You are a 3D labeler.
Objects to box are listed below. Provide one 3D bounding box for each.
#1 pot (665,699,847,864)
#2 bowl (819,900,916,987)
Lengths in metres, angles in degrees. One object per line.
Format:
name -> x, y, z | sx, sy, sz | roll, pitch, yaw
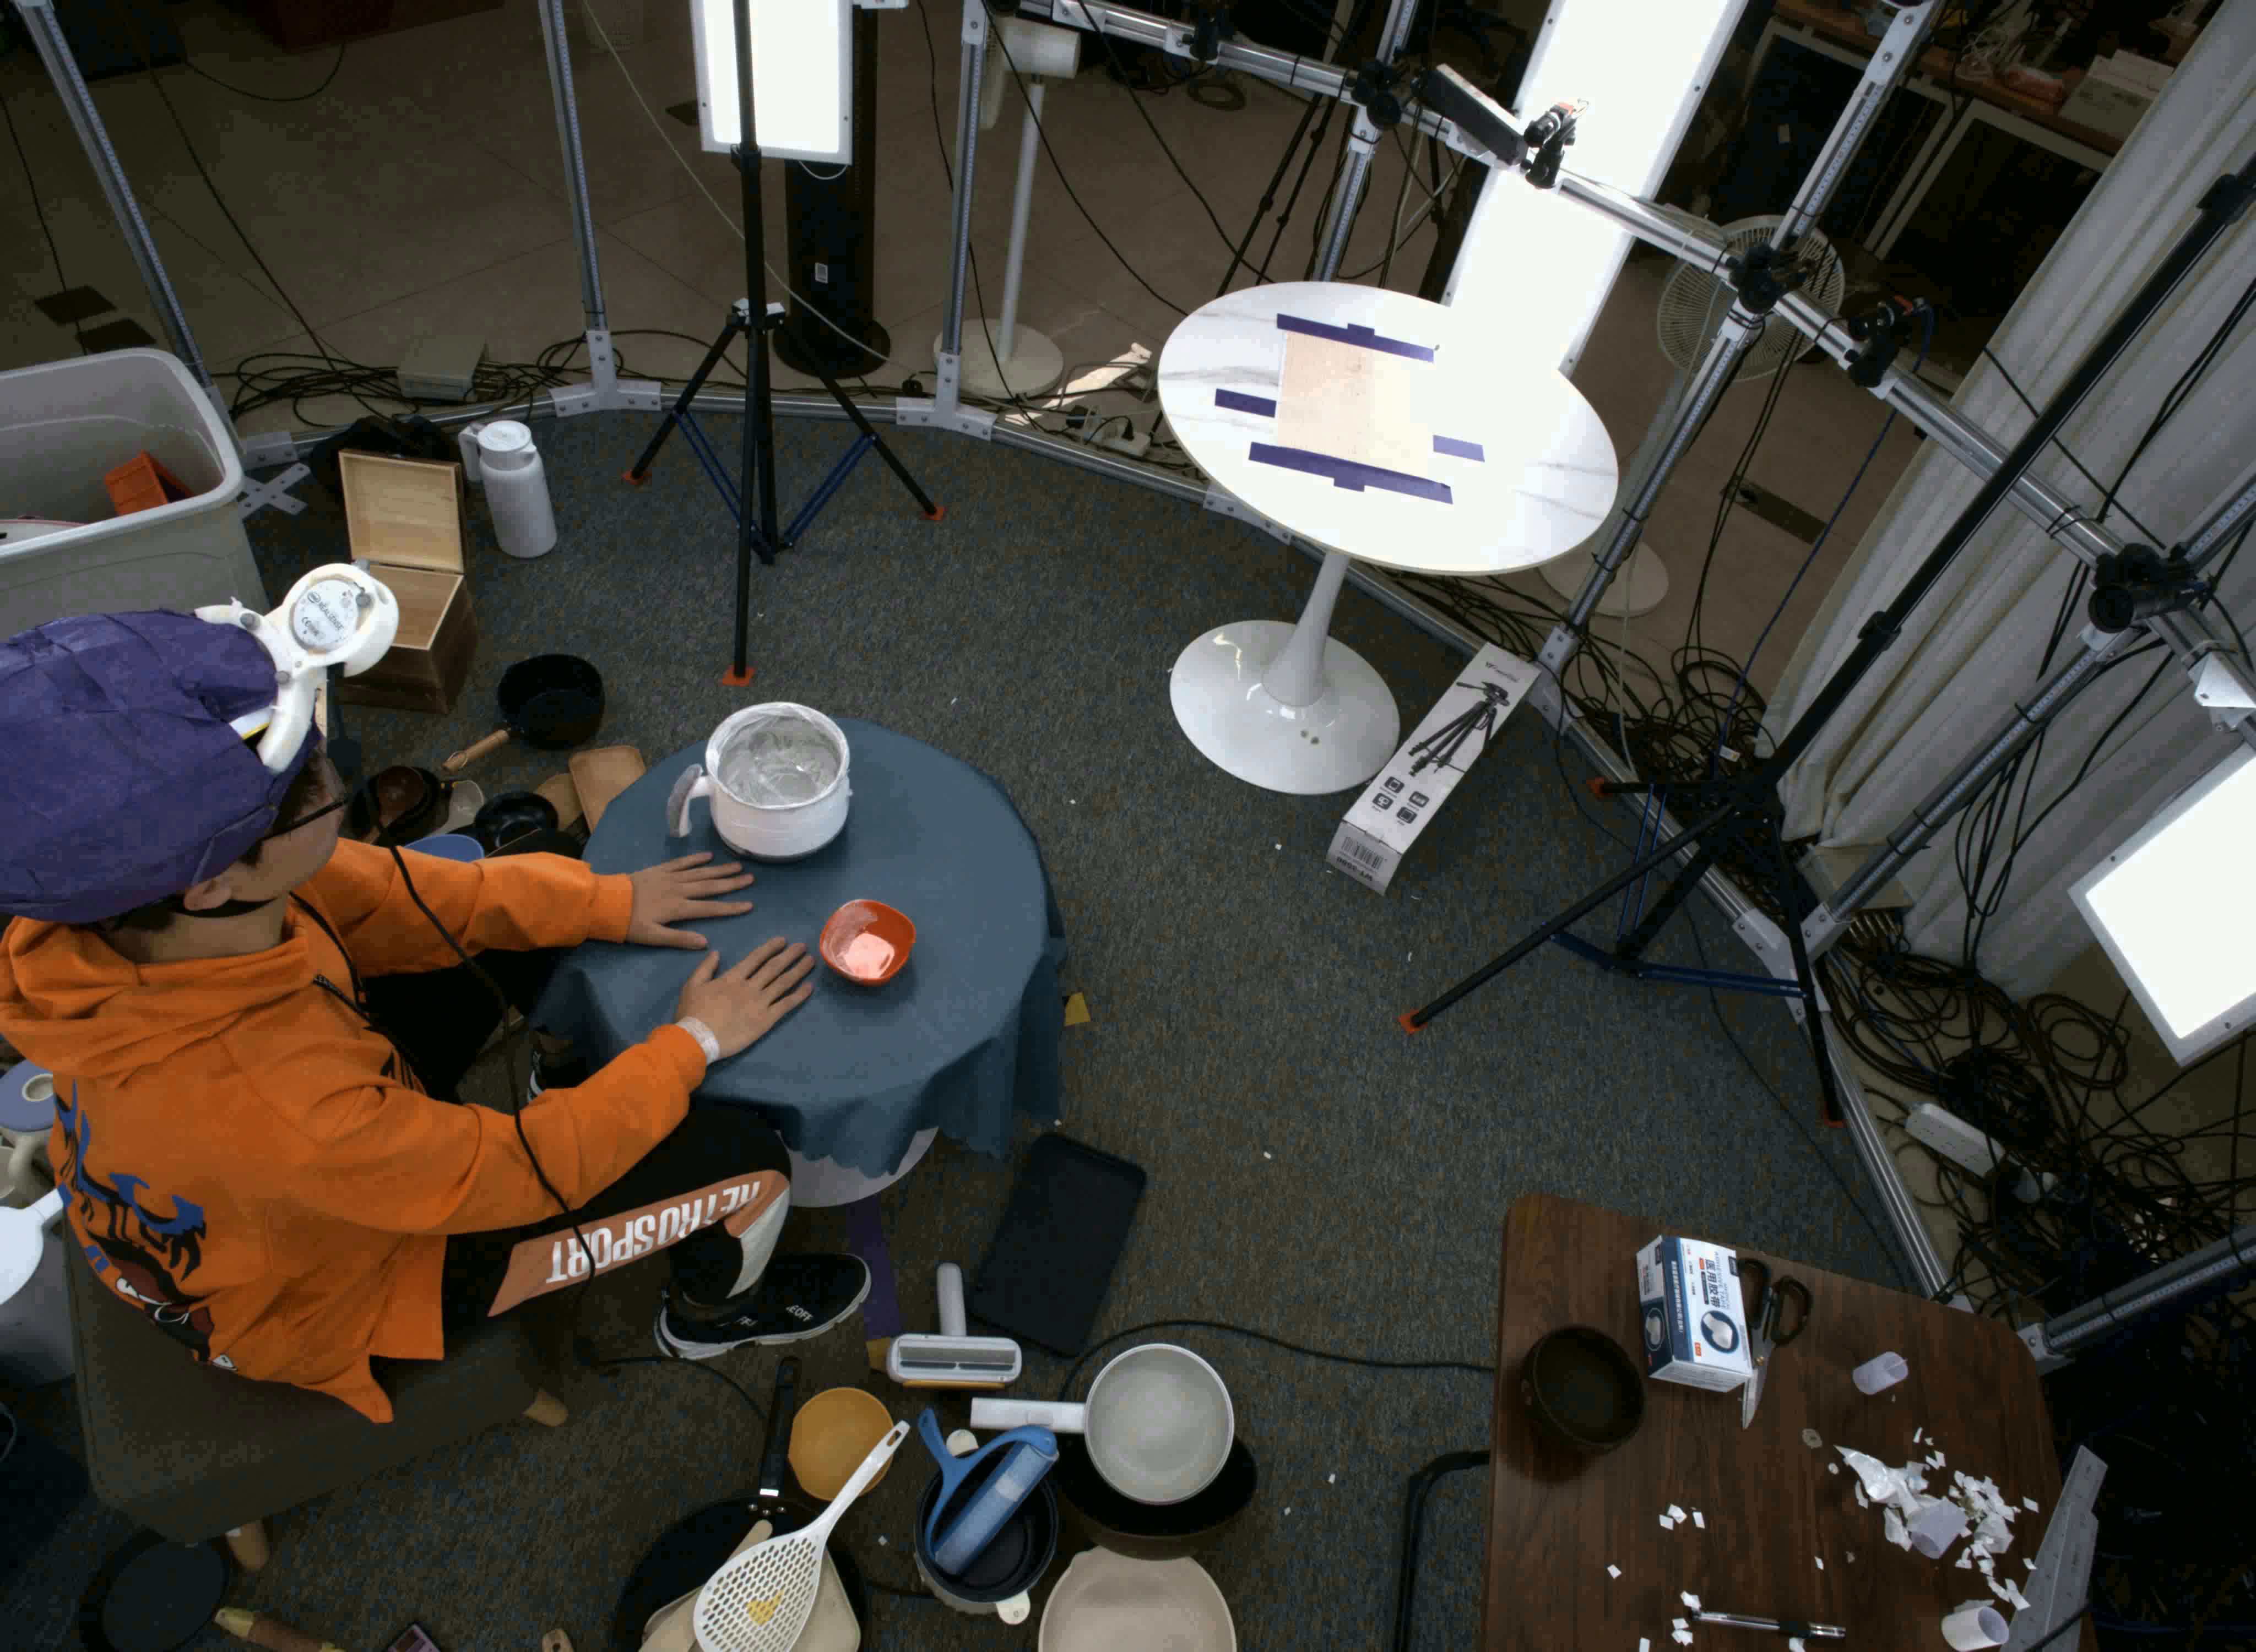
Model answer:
pot -> -0.474, -0.047, 1.647 | 0.235, 0.139, 0.174 | -14, 57, -24
bowl -> -0.321, 0.151, 1.595 | 0.119, 0.052, 0.117 | 9, 52, -10
